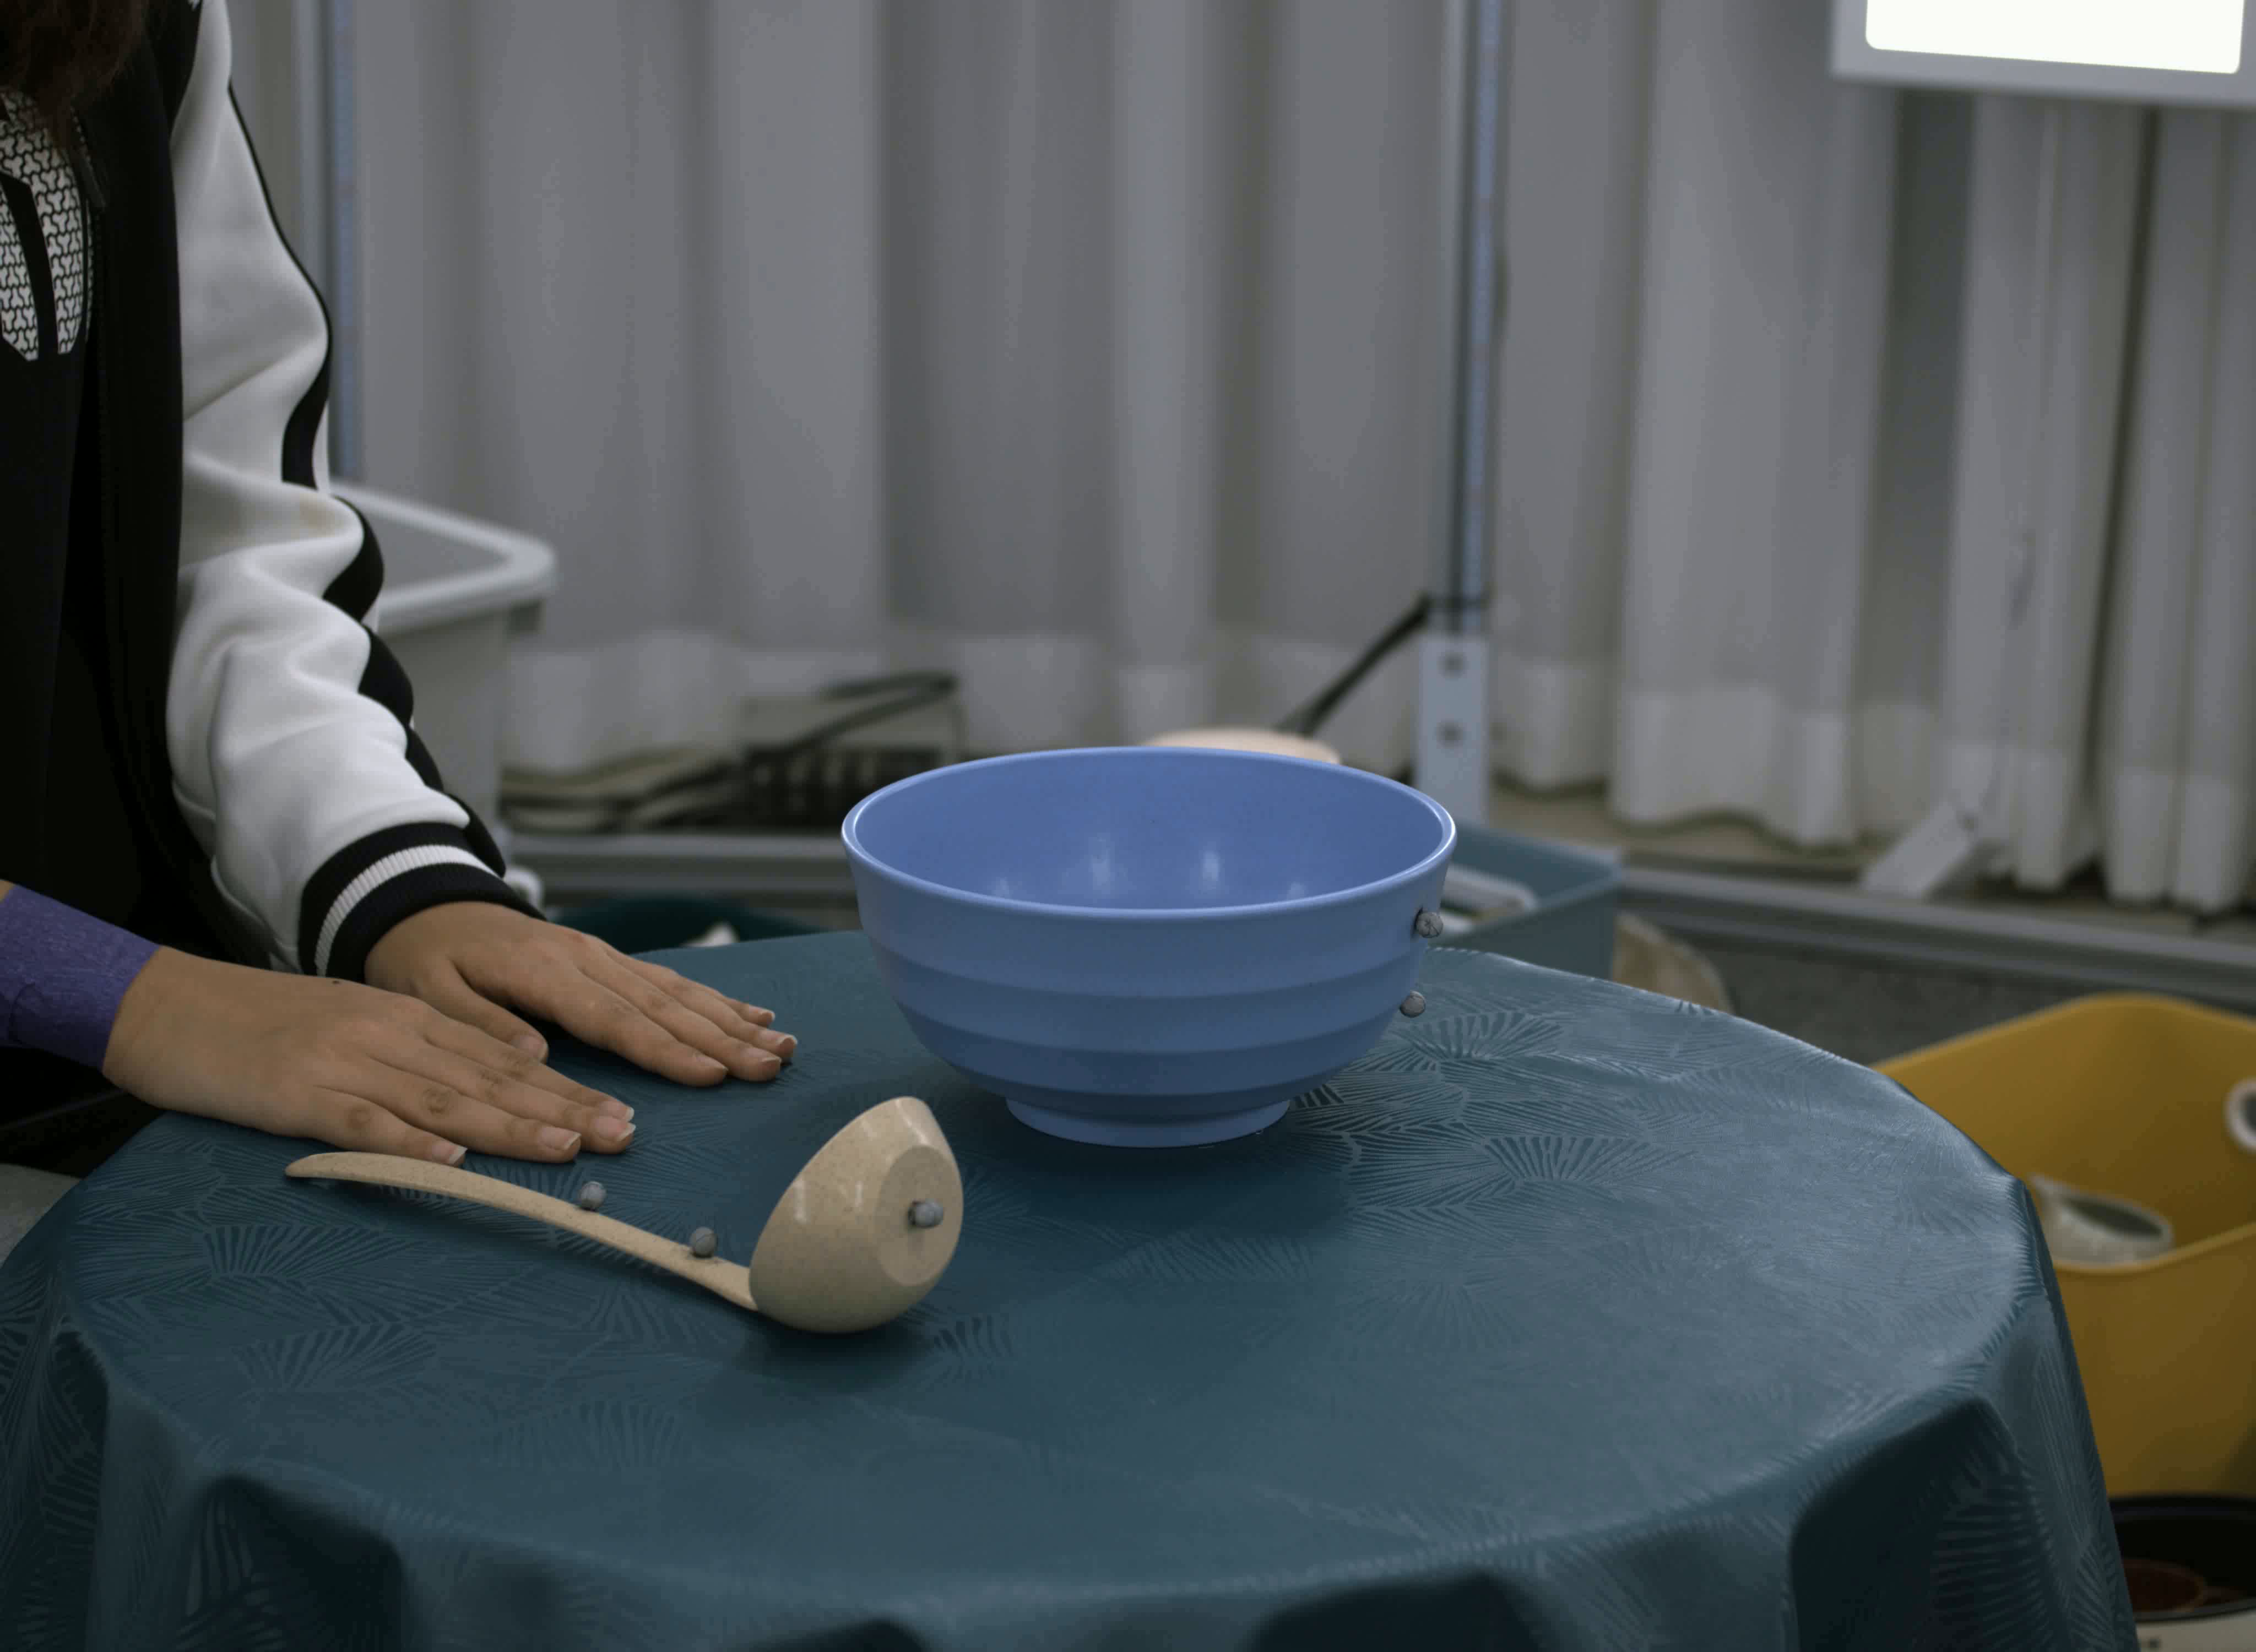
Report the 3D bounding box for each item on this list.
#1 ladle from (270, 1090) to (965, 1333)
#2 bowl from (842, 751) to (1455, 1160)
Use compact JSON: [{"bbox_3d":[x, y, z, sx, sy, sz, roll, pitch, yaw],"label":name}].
[{"bbox_3d":[-0.159,0.093,1.548,0.251,0.073,0.072,11,18,33],"label":"ladle"},{"bbox_3d":[0.007,0.048,1.690,0.196,0.096,0.195,0,17,1],"label":"bowl"}]
